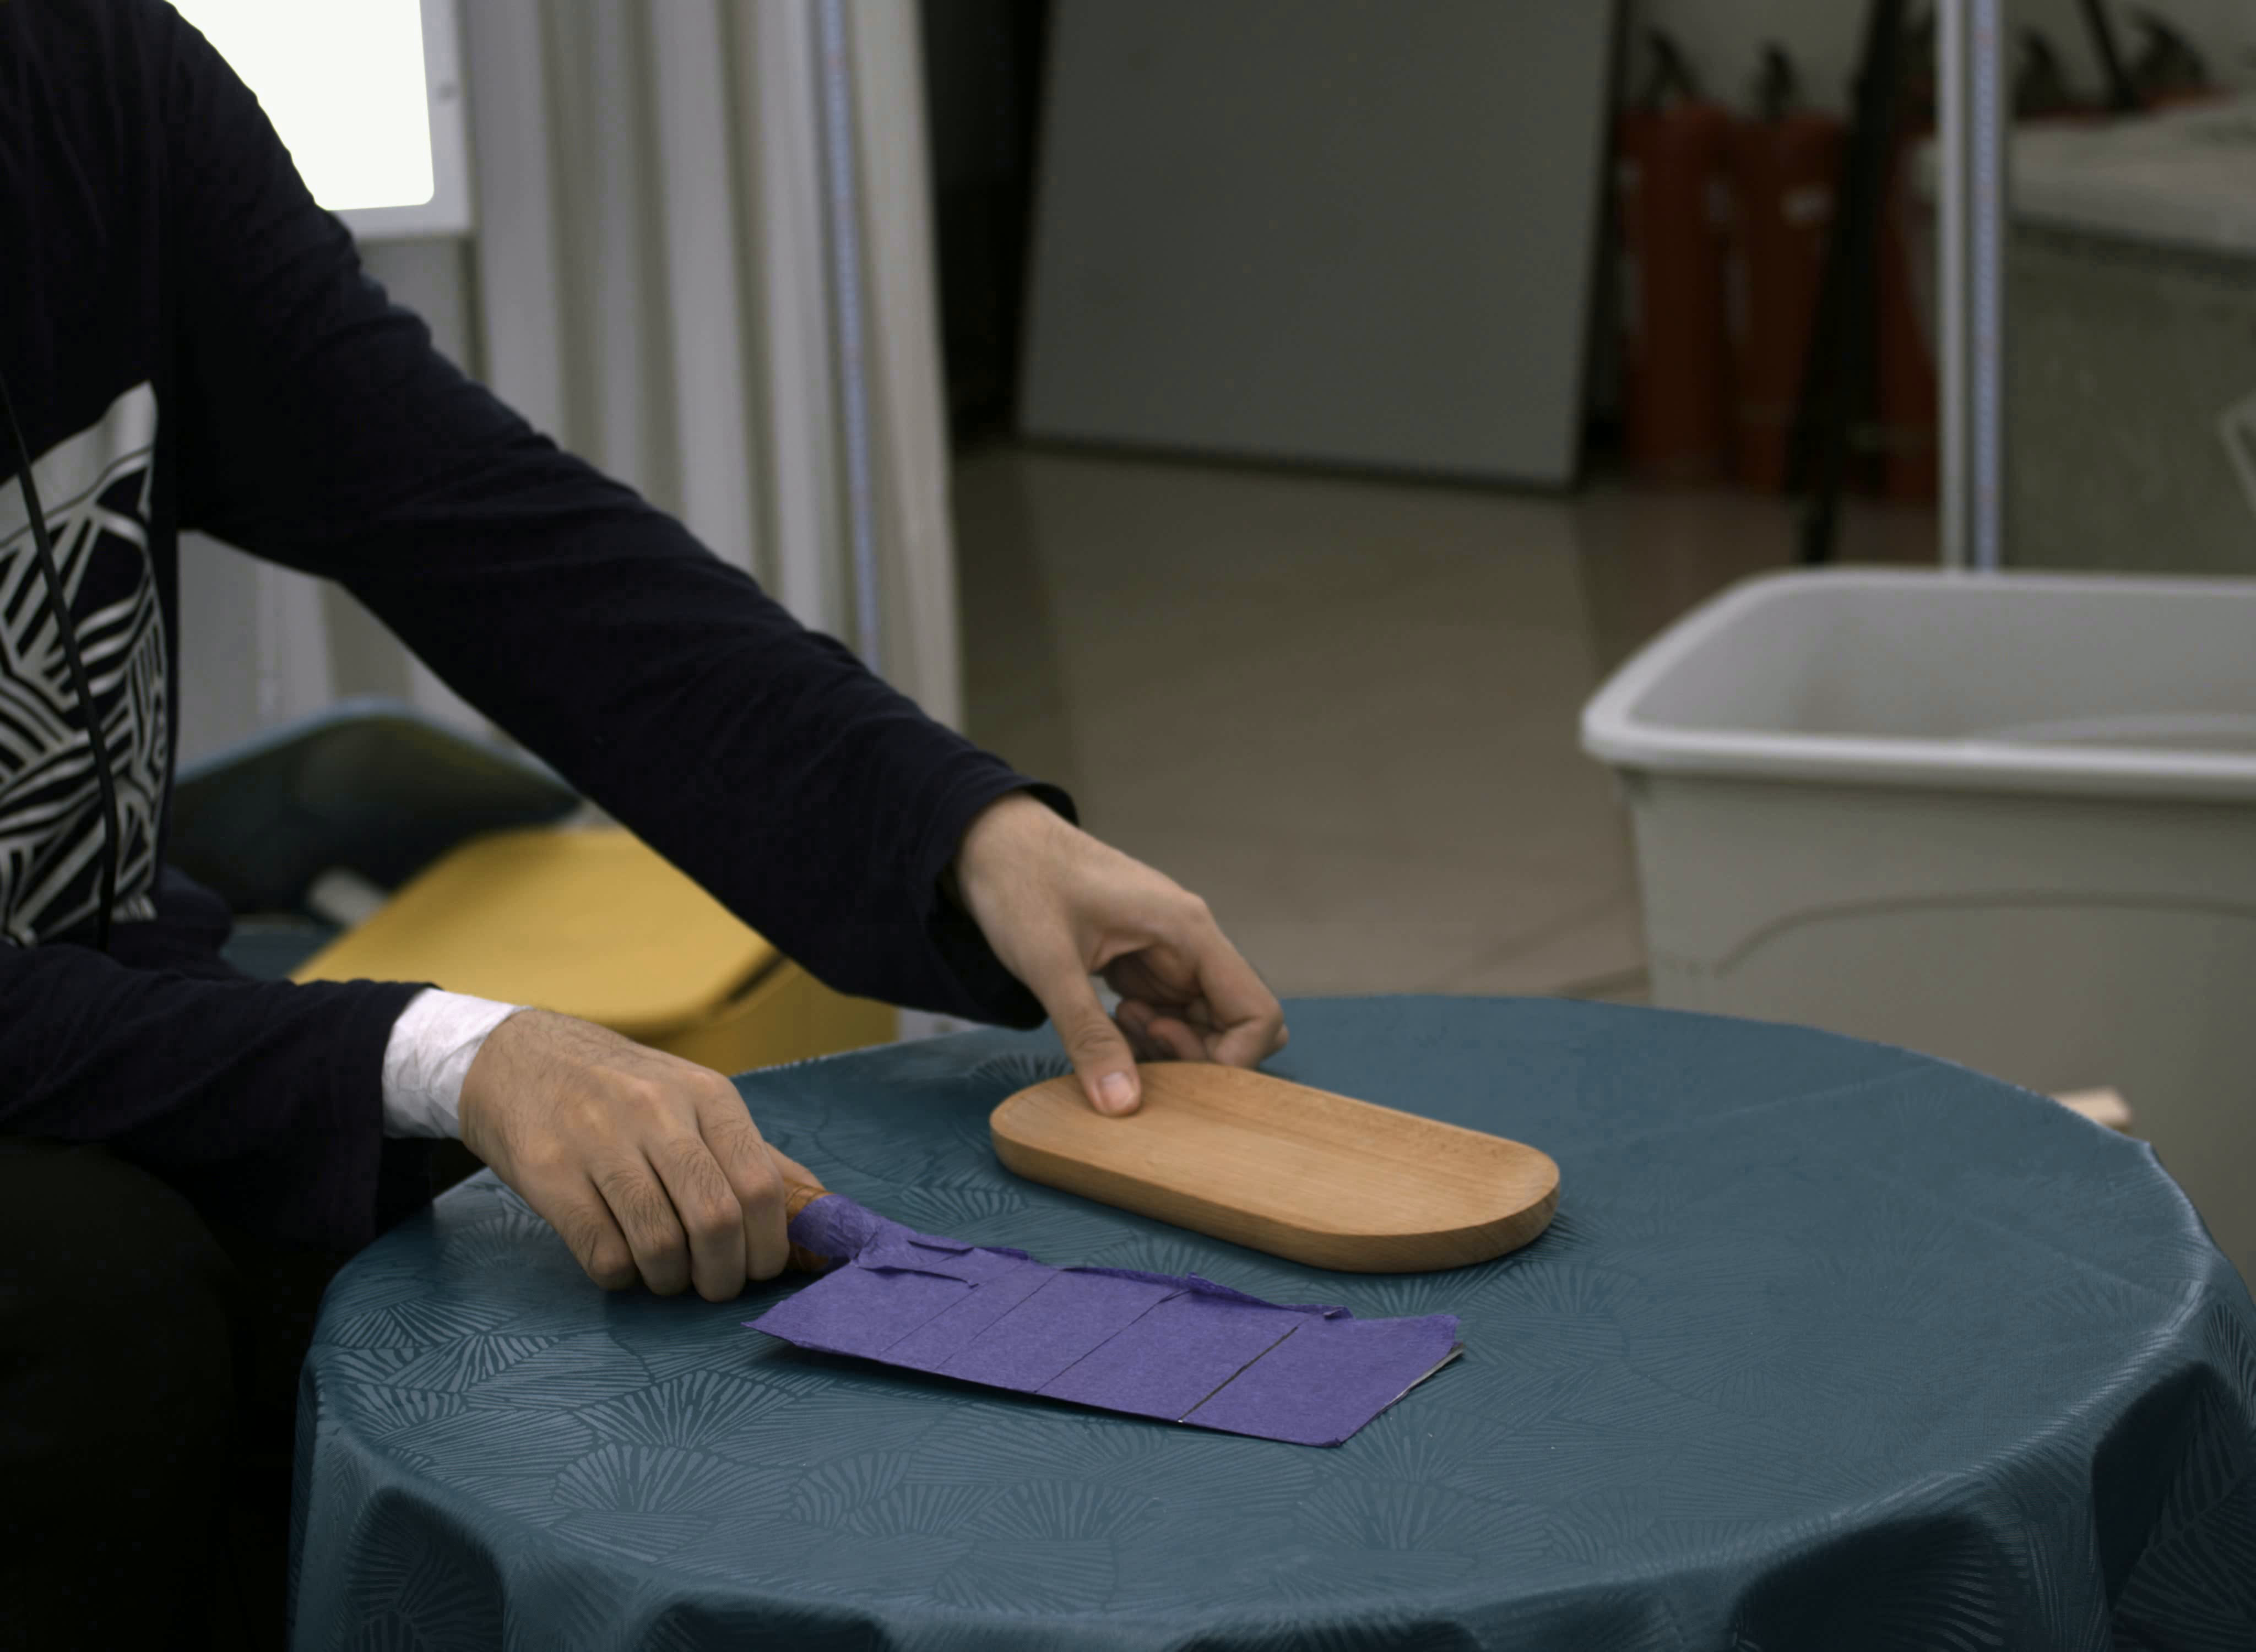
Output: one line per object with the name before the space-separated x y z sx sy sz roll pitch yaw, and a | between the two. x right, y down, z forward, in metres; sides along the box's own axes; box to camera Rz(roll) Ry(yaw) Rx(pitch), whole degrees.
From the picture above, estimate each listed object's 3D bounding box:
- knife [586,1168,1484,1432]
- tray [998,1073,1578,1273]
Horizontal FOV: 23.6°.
knife | -0.049 0.143 1.643 0.316 0.032 0.102 5 16 32
tray | 0.050 0.112 1.762 0.099 0.020 0.233 -18 20 -39
